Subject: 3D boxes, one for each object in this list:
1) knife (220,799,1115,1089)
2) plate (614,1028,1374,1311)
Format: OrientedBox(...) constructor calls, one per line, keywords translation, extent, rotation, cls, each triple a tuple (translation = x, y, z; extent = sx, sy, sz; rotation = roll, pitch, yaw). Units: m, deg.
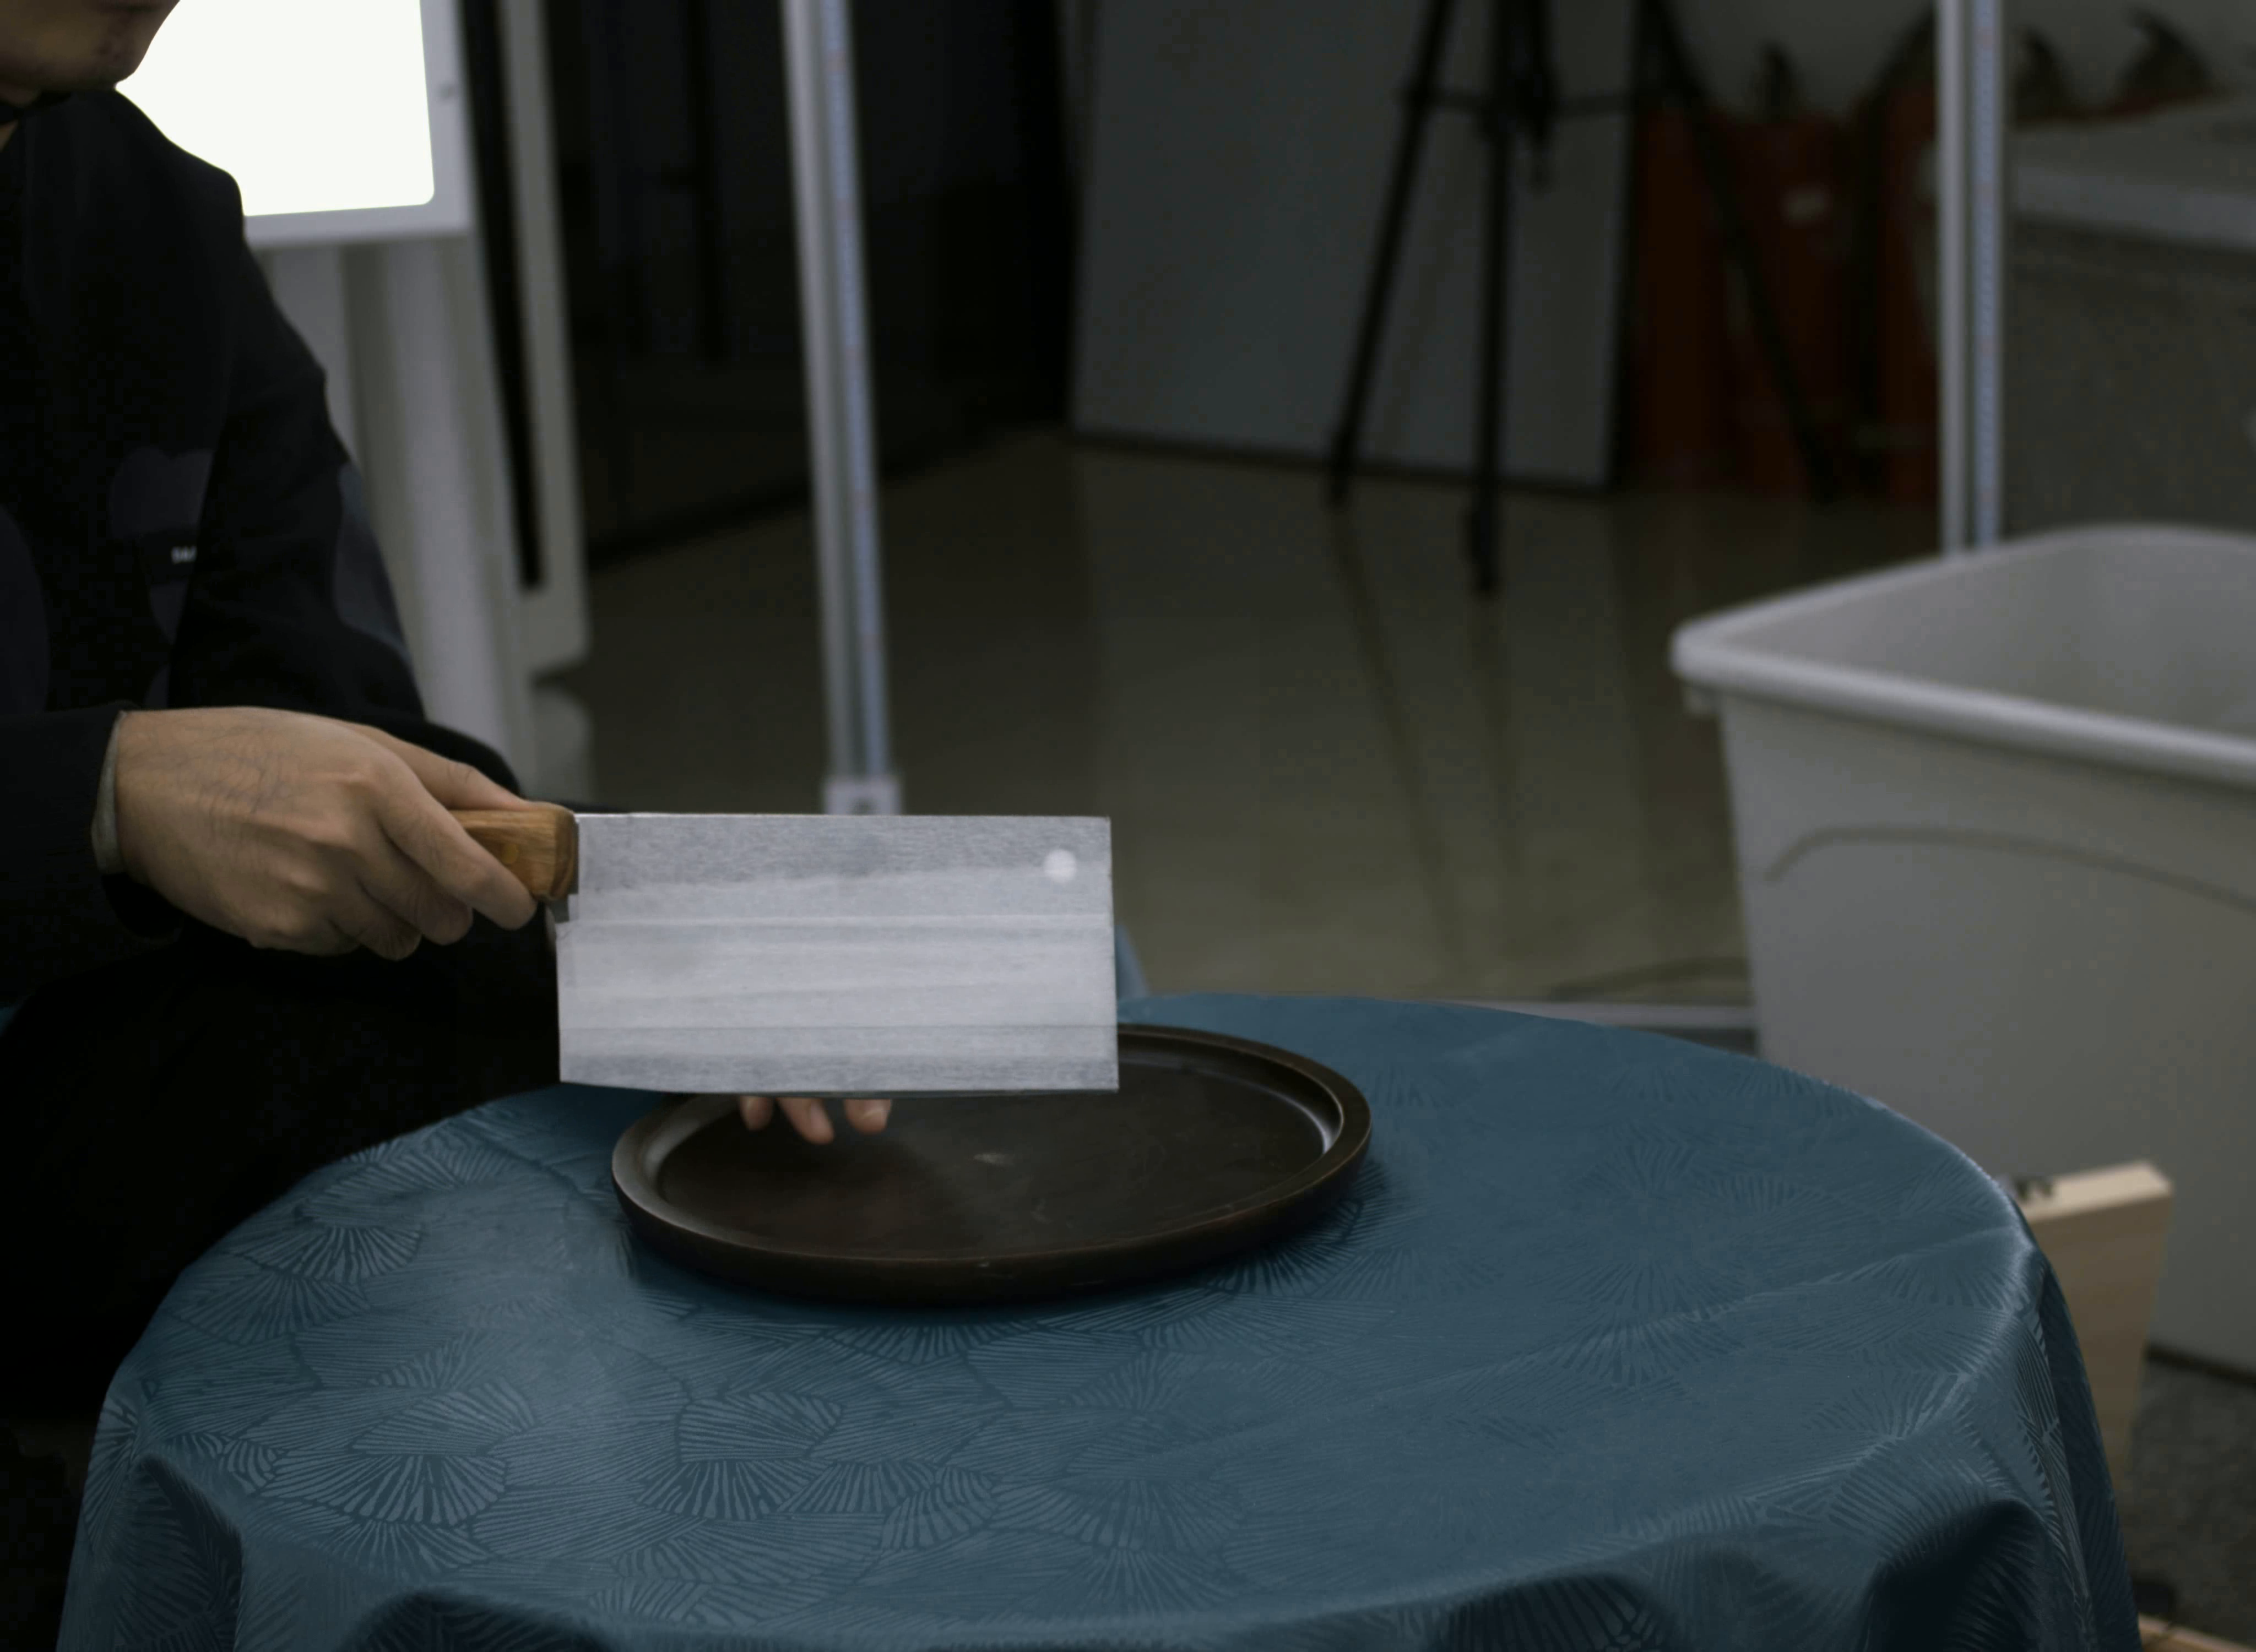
OrientedBox(translation=(-0.150, 0.038, 1.734), extent=(0.305, 0.094, 0.021), rotation=(0, 7, 18), cls="knife")
OrientedBox(translation=(-0.043, 0.111, 1.774), extent=(0.251, 0.029, 0.255), rotation=(-3, 13, 0), cls="plate")
